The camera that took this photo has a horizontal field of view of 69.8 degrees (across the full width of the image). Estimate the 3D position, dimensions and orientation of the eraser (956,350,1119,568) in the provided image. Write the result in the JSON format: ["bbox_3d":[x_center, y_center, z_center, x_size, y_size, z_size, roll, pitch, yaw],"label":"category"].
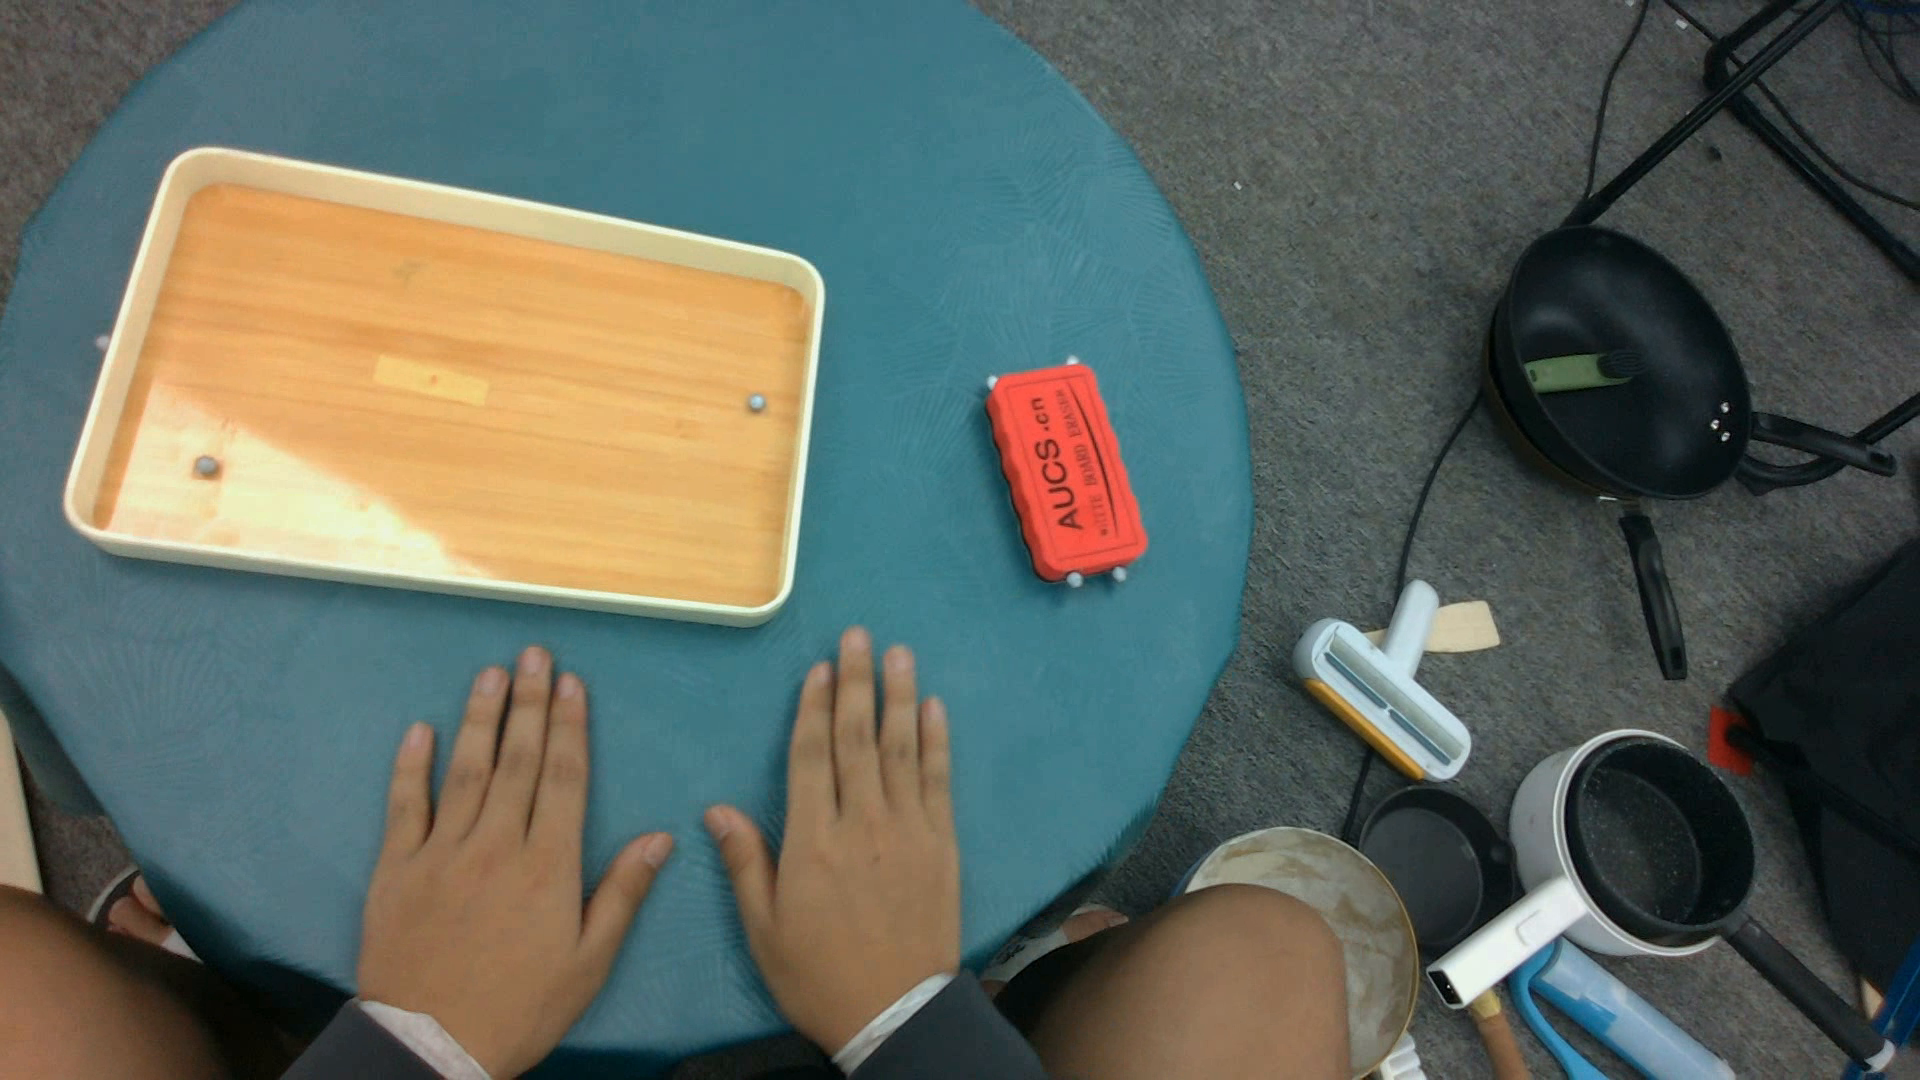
[{"bbox_3d":[0.039,-0.042,0.701,0.059,0.023,0.108,-11,74,-21],"label":"eraser"}]

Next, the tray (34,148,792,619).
[{"bbox_3d":[-0.233,-0.070,0.633,0.300,0.027,0.192,7,69,-13],"label":"tray"}]
